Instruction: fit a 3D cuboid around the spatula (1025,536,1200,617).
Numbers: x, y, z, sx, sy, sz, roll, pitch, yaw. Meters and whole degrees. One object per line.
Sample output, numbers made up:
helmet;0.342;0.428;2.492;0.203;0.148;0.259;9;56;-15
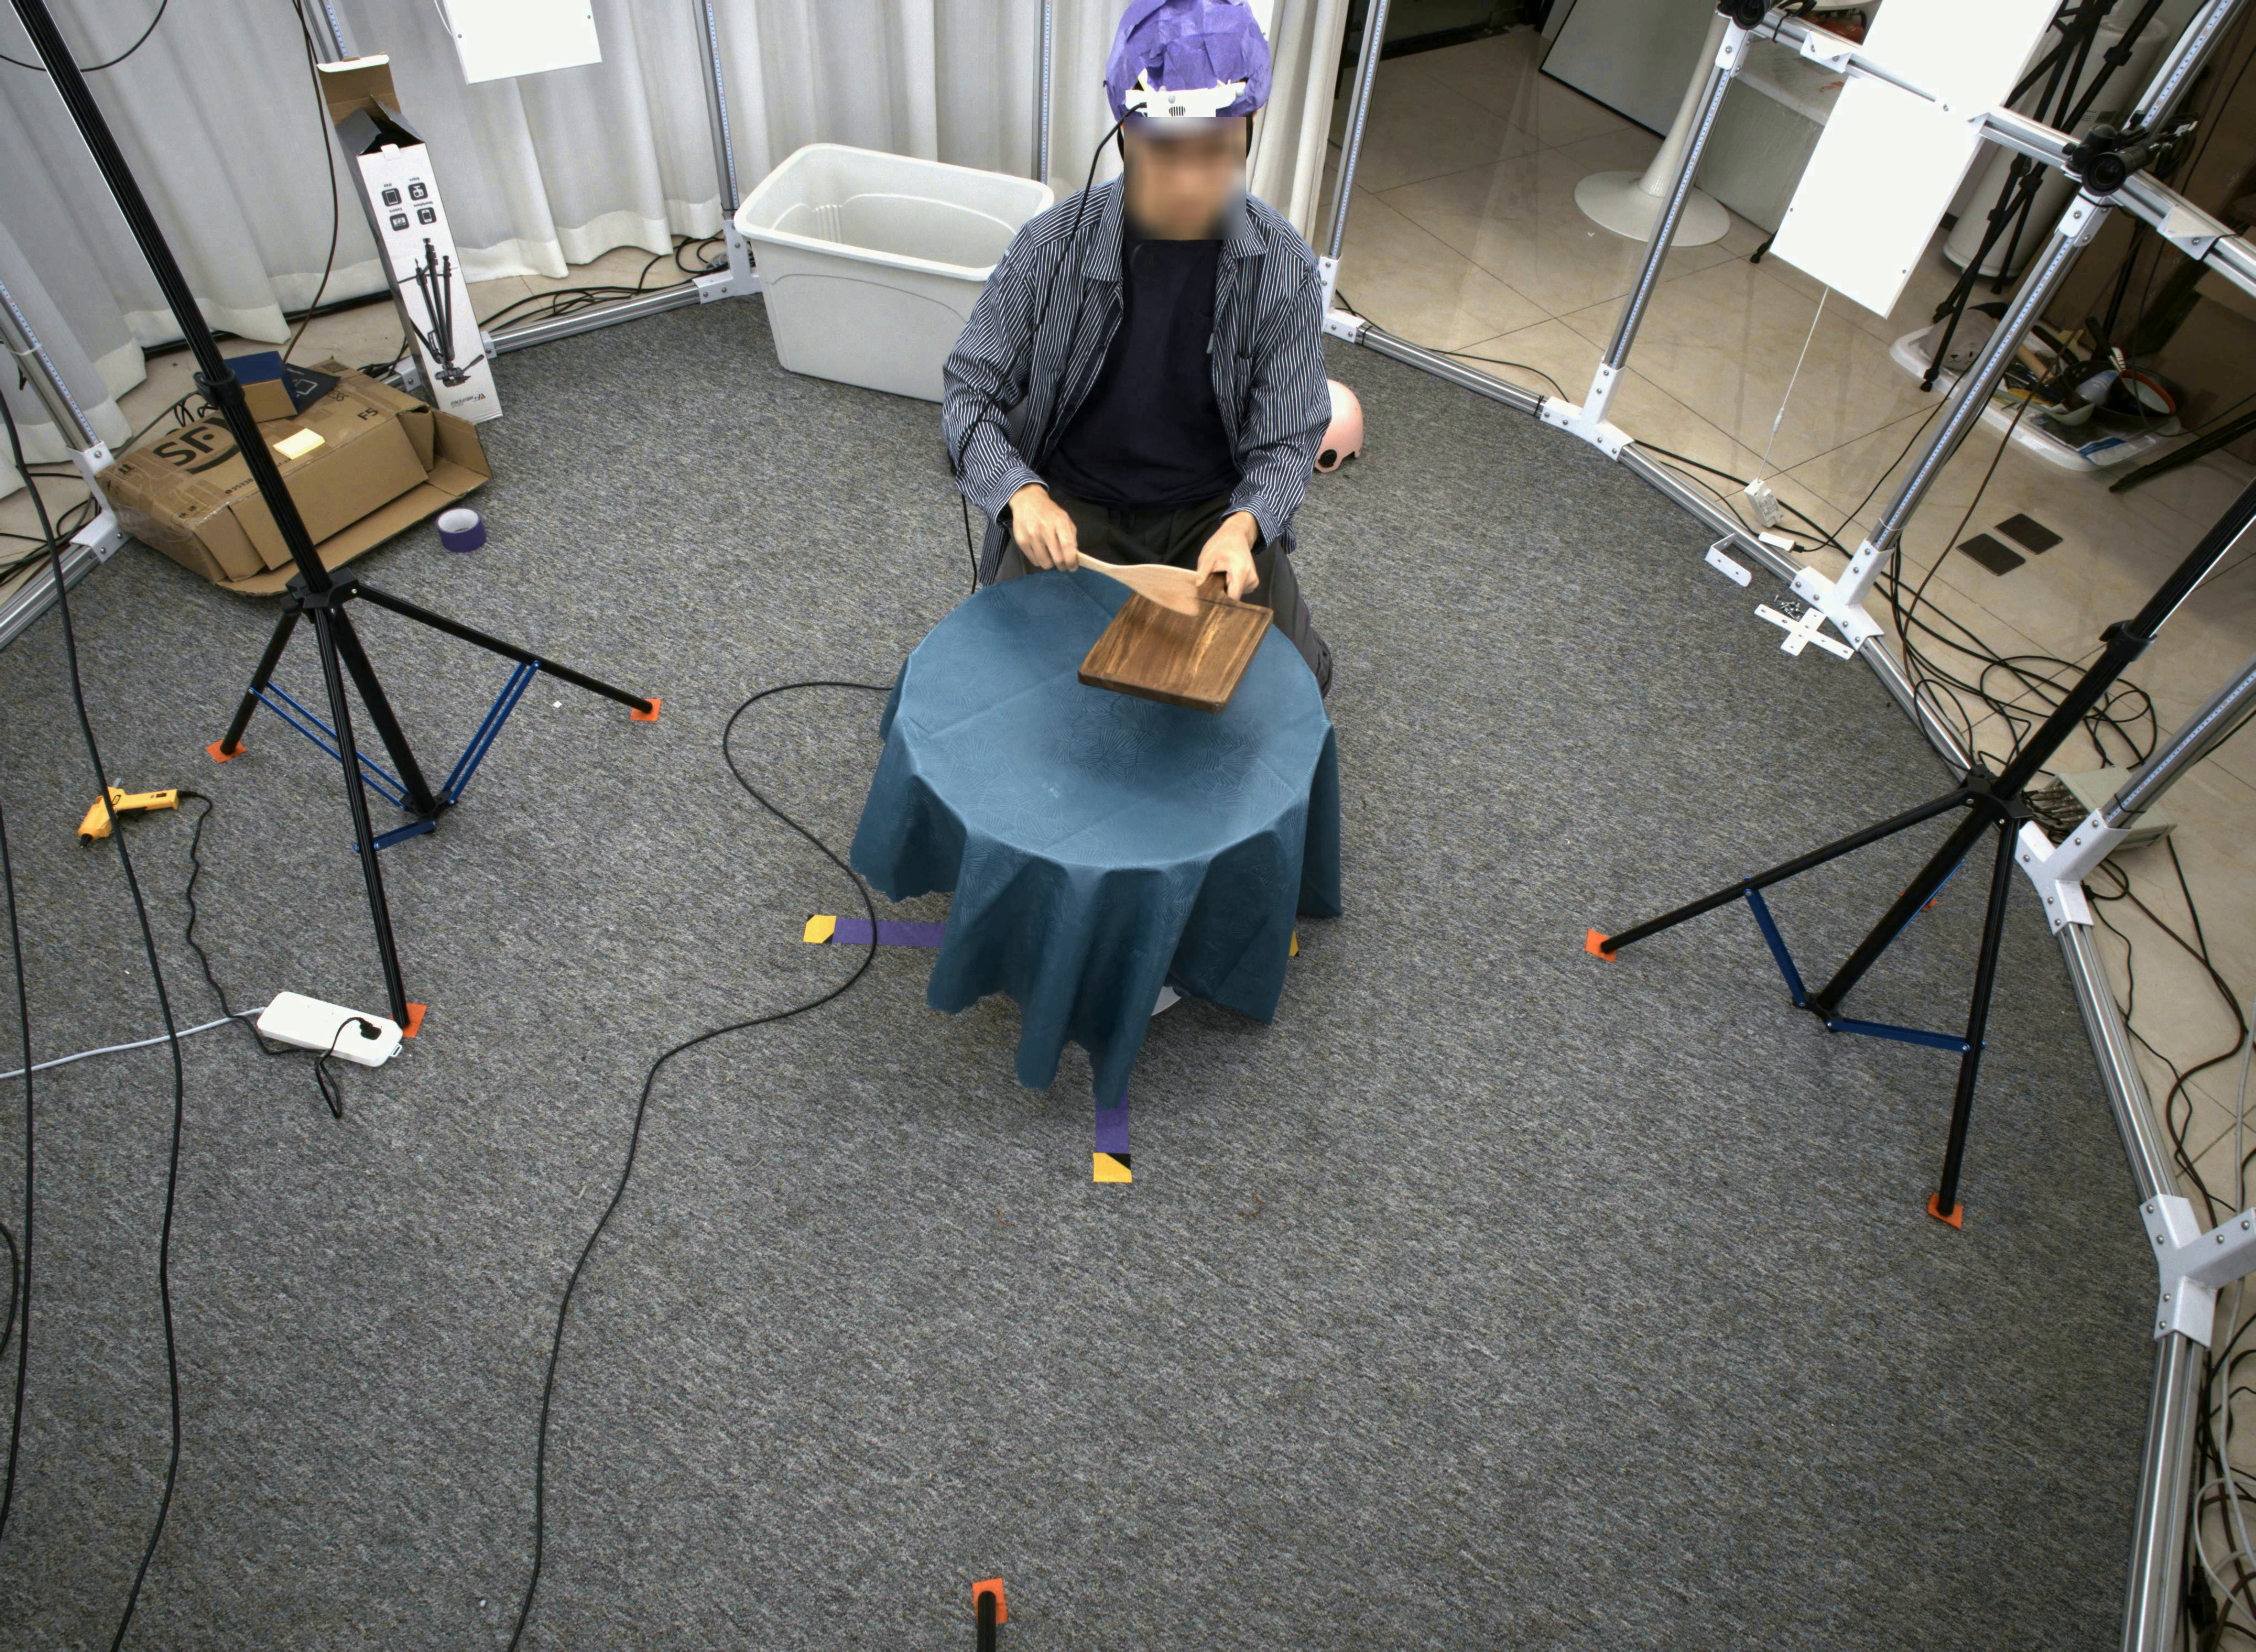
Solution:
spatula;-0.026;-0.352;1.757;0.332;0.078;0.017;27;60;38

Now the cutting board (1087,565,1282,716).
cutting board;0.096;-0.266;1.728;0.202;0.022;0.359;14;40;14
